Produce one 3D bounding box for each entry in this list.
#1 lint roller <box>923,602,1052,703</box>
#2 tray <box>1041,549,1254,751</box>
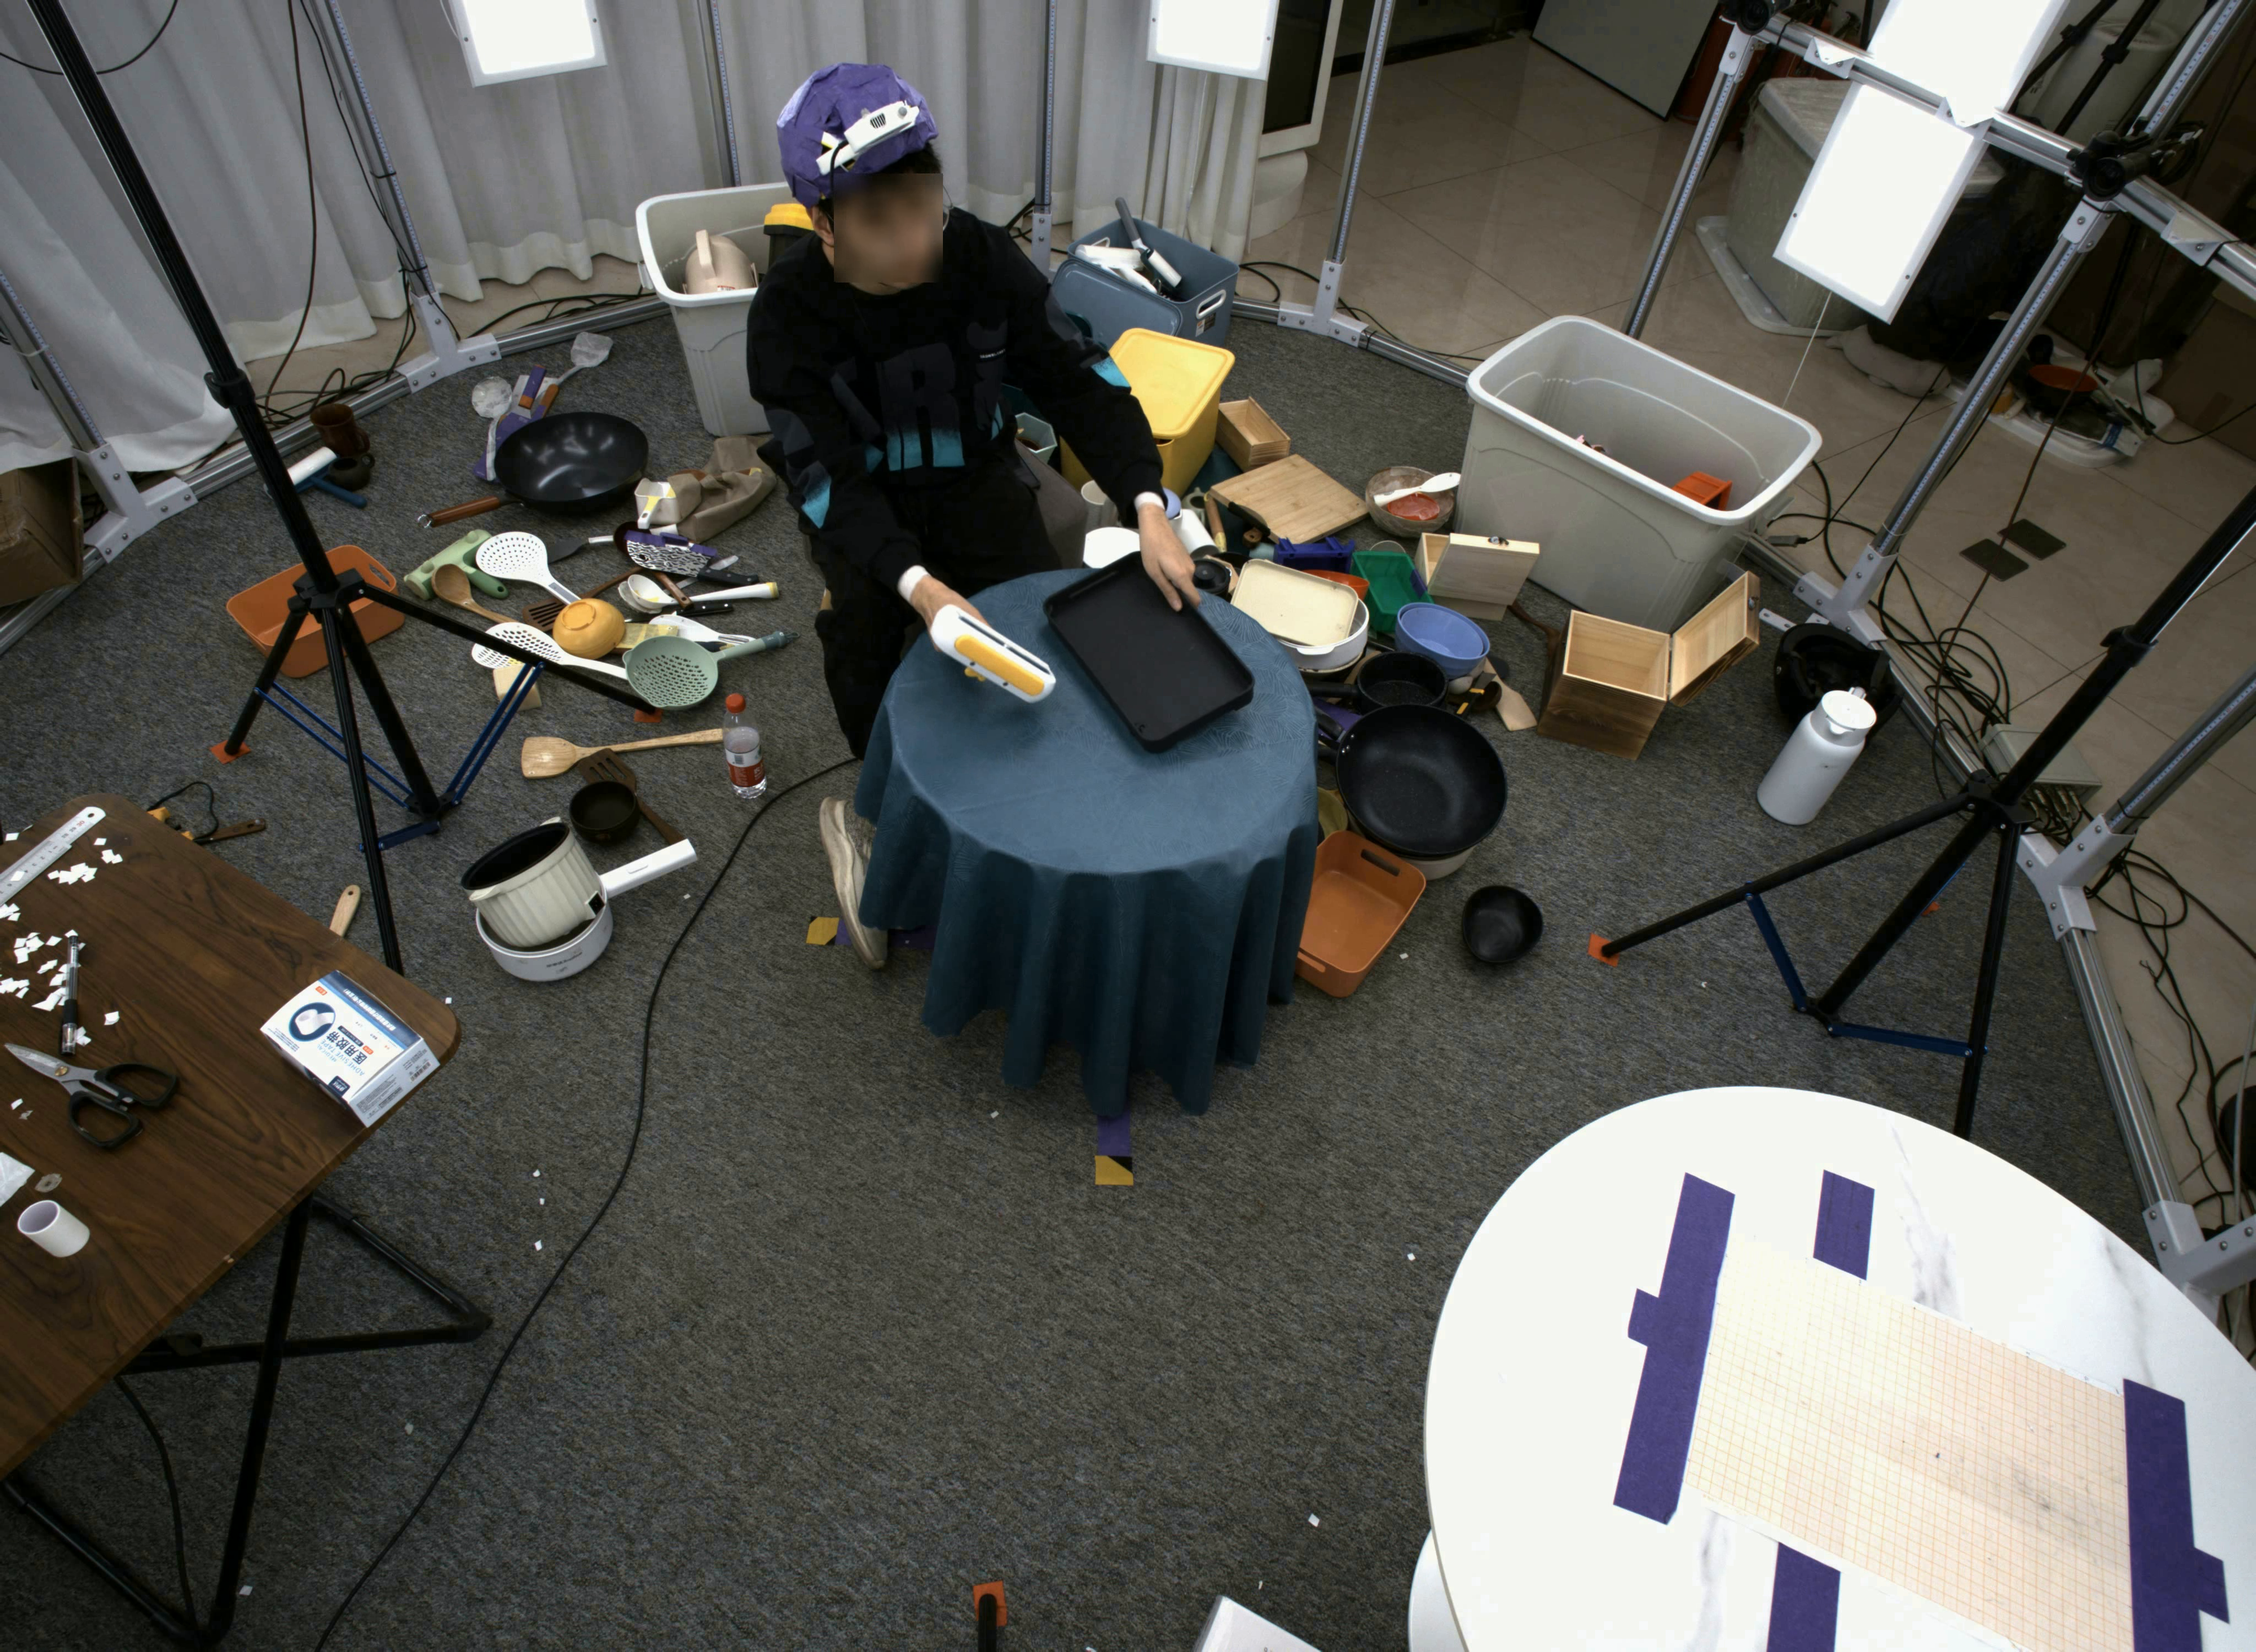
[{"bbox_3d":[-0.207,-0.253,1.771,0.190,0.073,0.196,25,18,-29],"label":"lint roller"},{"bbox_3d":[0.025,-0.258,1.843,0.185,0.036,0.324,-31,58,-11],"label":"tray"}]
